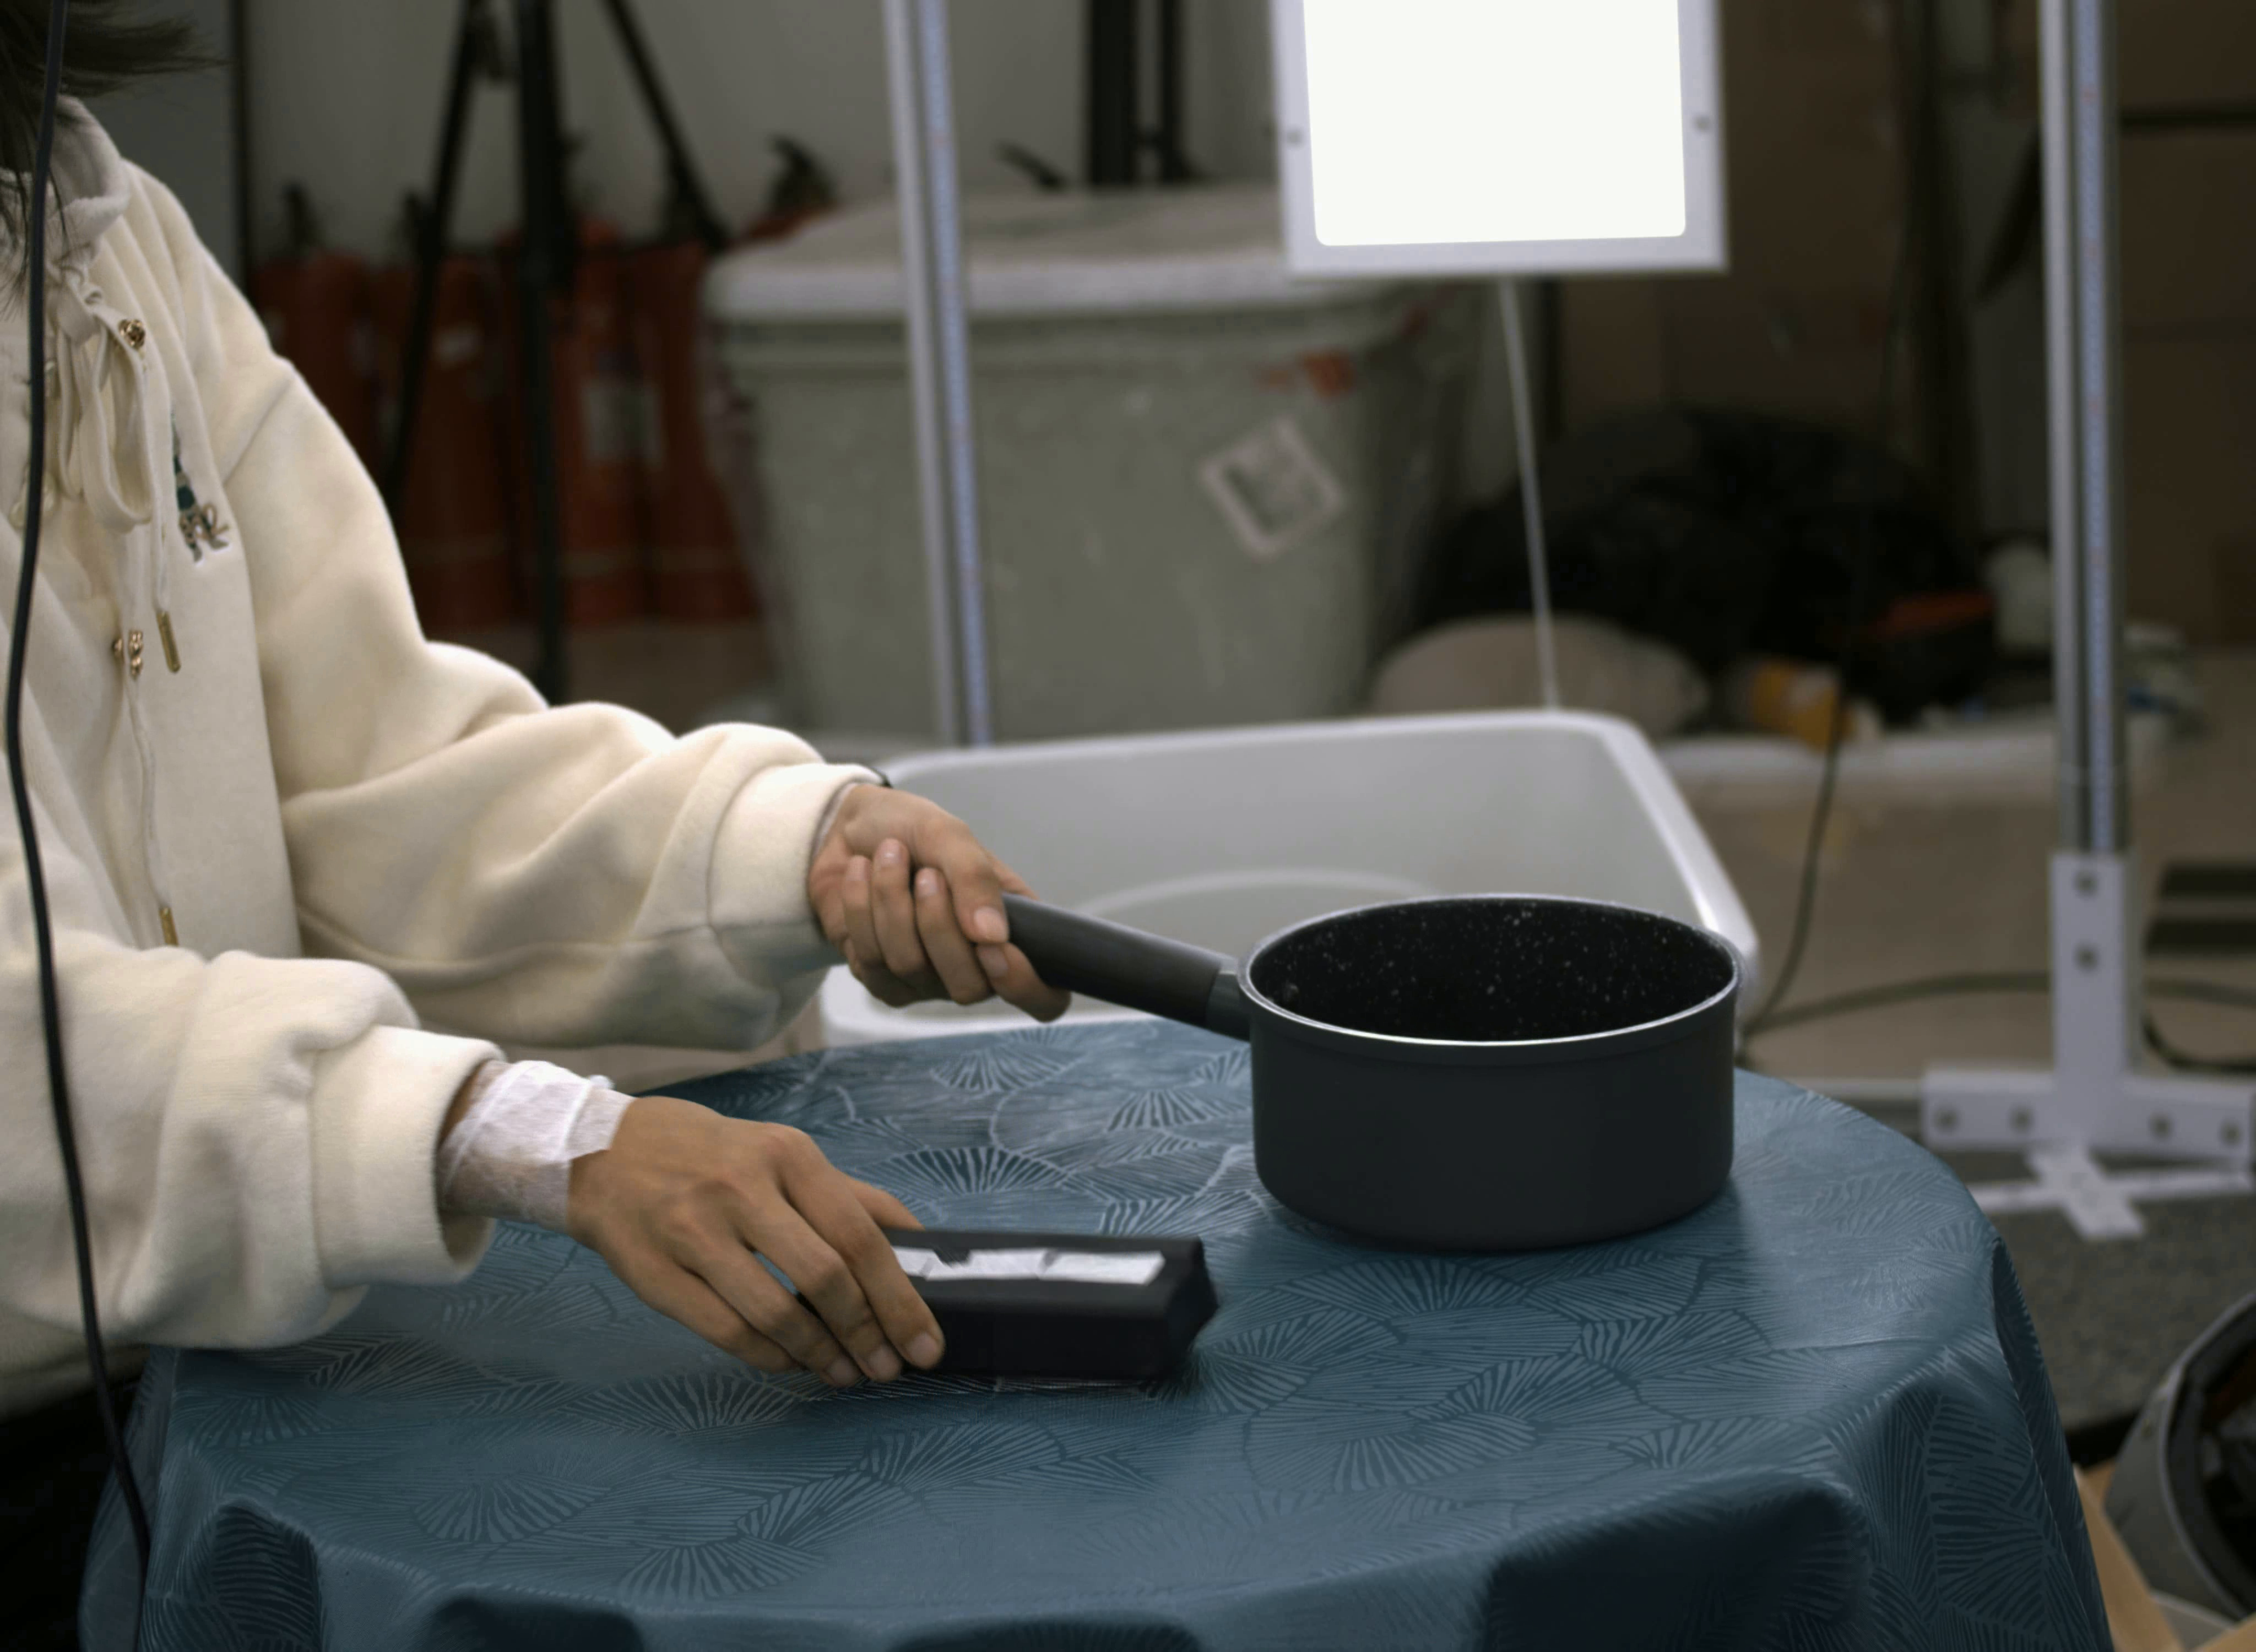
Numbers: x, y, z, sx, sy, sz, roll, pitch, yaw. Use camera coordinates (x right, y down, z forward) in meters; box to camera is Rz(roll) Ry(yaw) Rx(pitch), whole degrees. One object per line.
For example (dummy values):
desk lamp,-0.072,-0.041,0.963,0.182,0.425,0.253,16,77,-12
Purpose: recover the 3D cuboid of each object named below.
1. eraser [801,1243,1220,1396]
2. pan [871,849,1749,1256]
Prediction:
eraser,-0.035,0.153,1.720,0.127,0.030,0.052,0,22,19
pan,0.056,0.072,1.898,0.335,0.087,0.168,8,18,30
